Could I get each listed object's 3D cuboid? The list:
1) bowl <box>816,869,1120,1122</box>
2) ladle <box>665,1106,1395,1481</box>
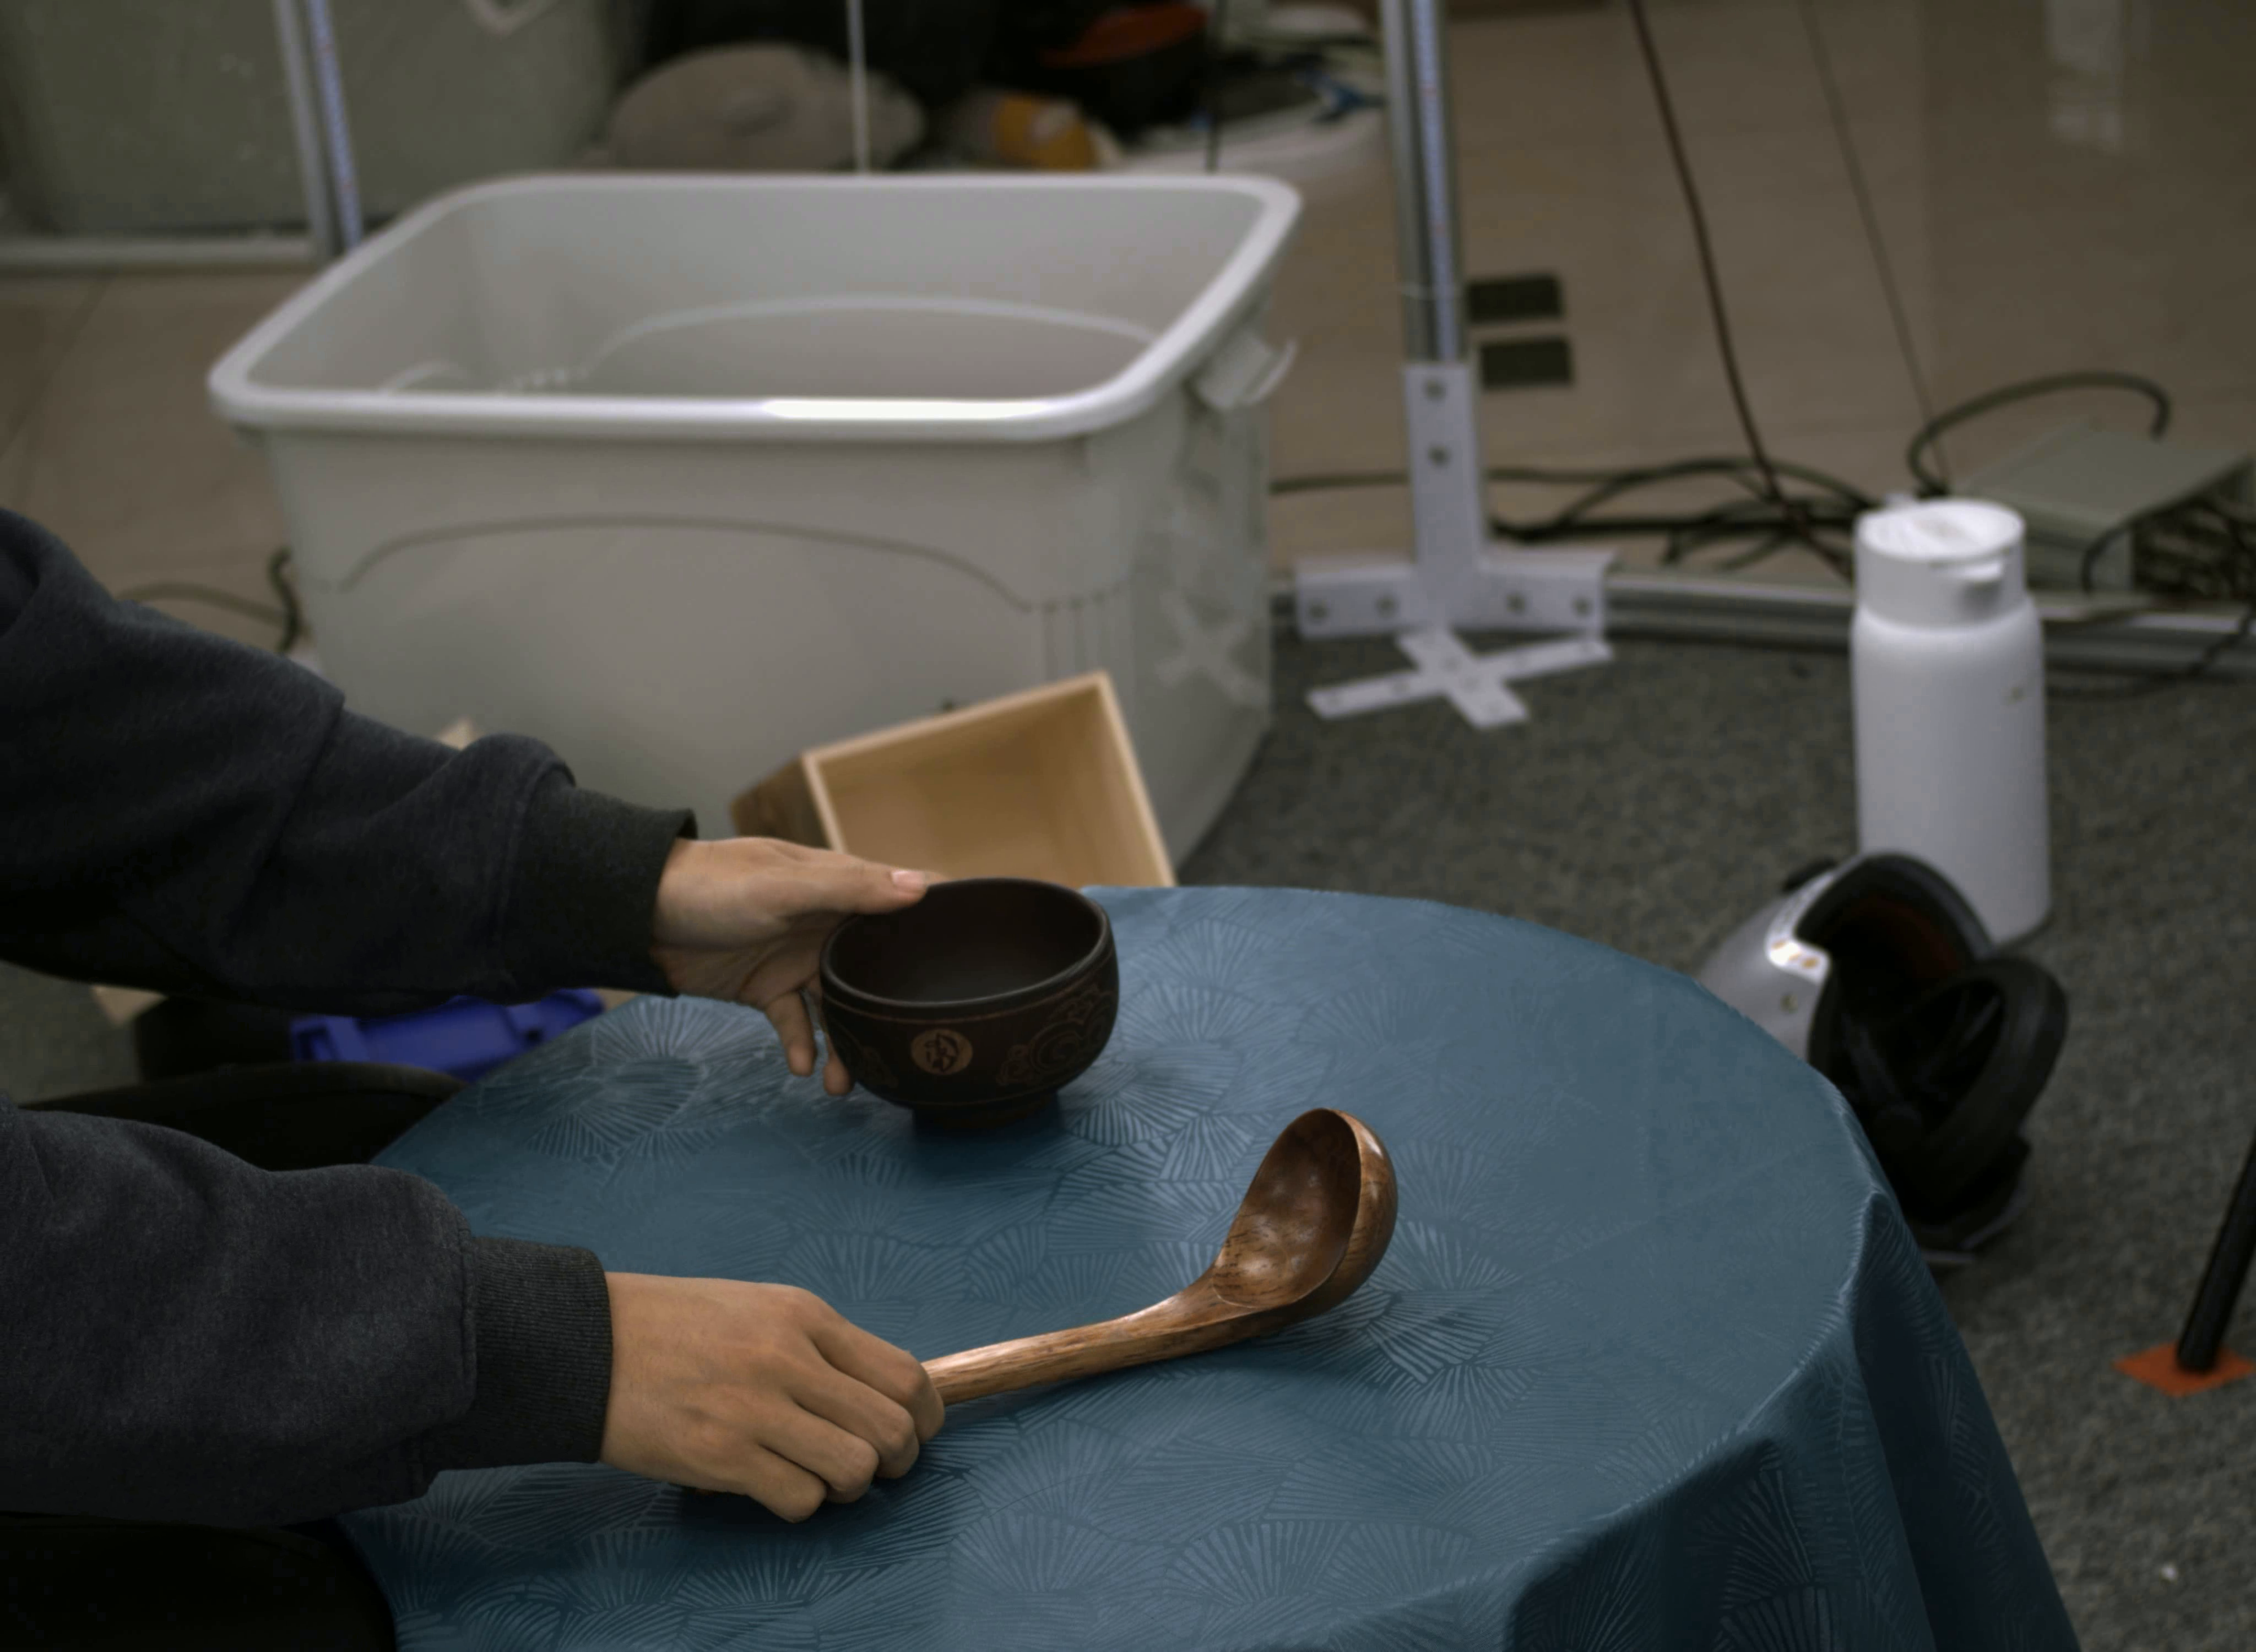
[{"bbox_3d":[-0.061,0.072,2.216,0.118,0.071,0.116,-5,26,2],"label":"bowl"},{"bbox_3d":[-0.035,0.164,2.006,0.273,0.078,0.081,-13,23,-14],"label":"ladle"}]
